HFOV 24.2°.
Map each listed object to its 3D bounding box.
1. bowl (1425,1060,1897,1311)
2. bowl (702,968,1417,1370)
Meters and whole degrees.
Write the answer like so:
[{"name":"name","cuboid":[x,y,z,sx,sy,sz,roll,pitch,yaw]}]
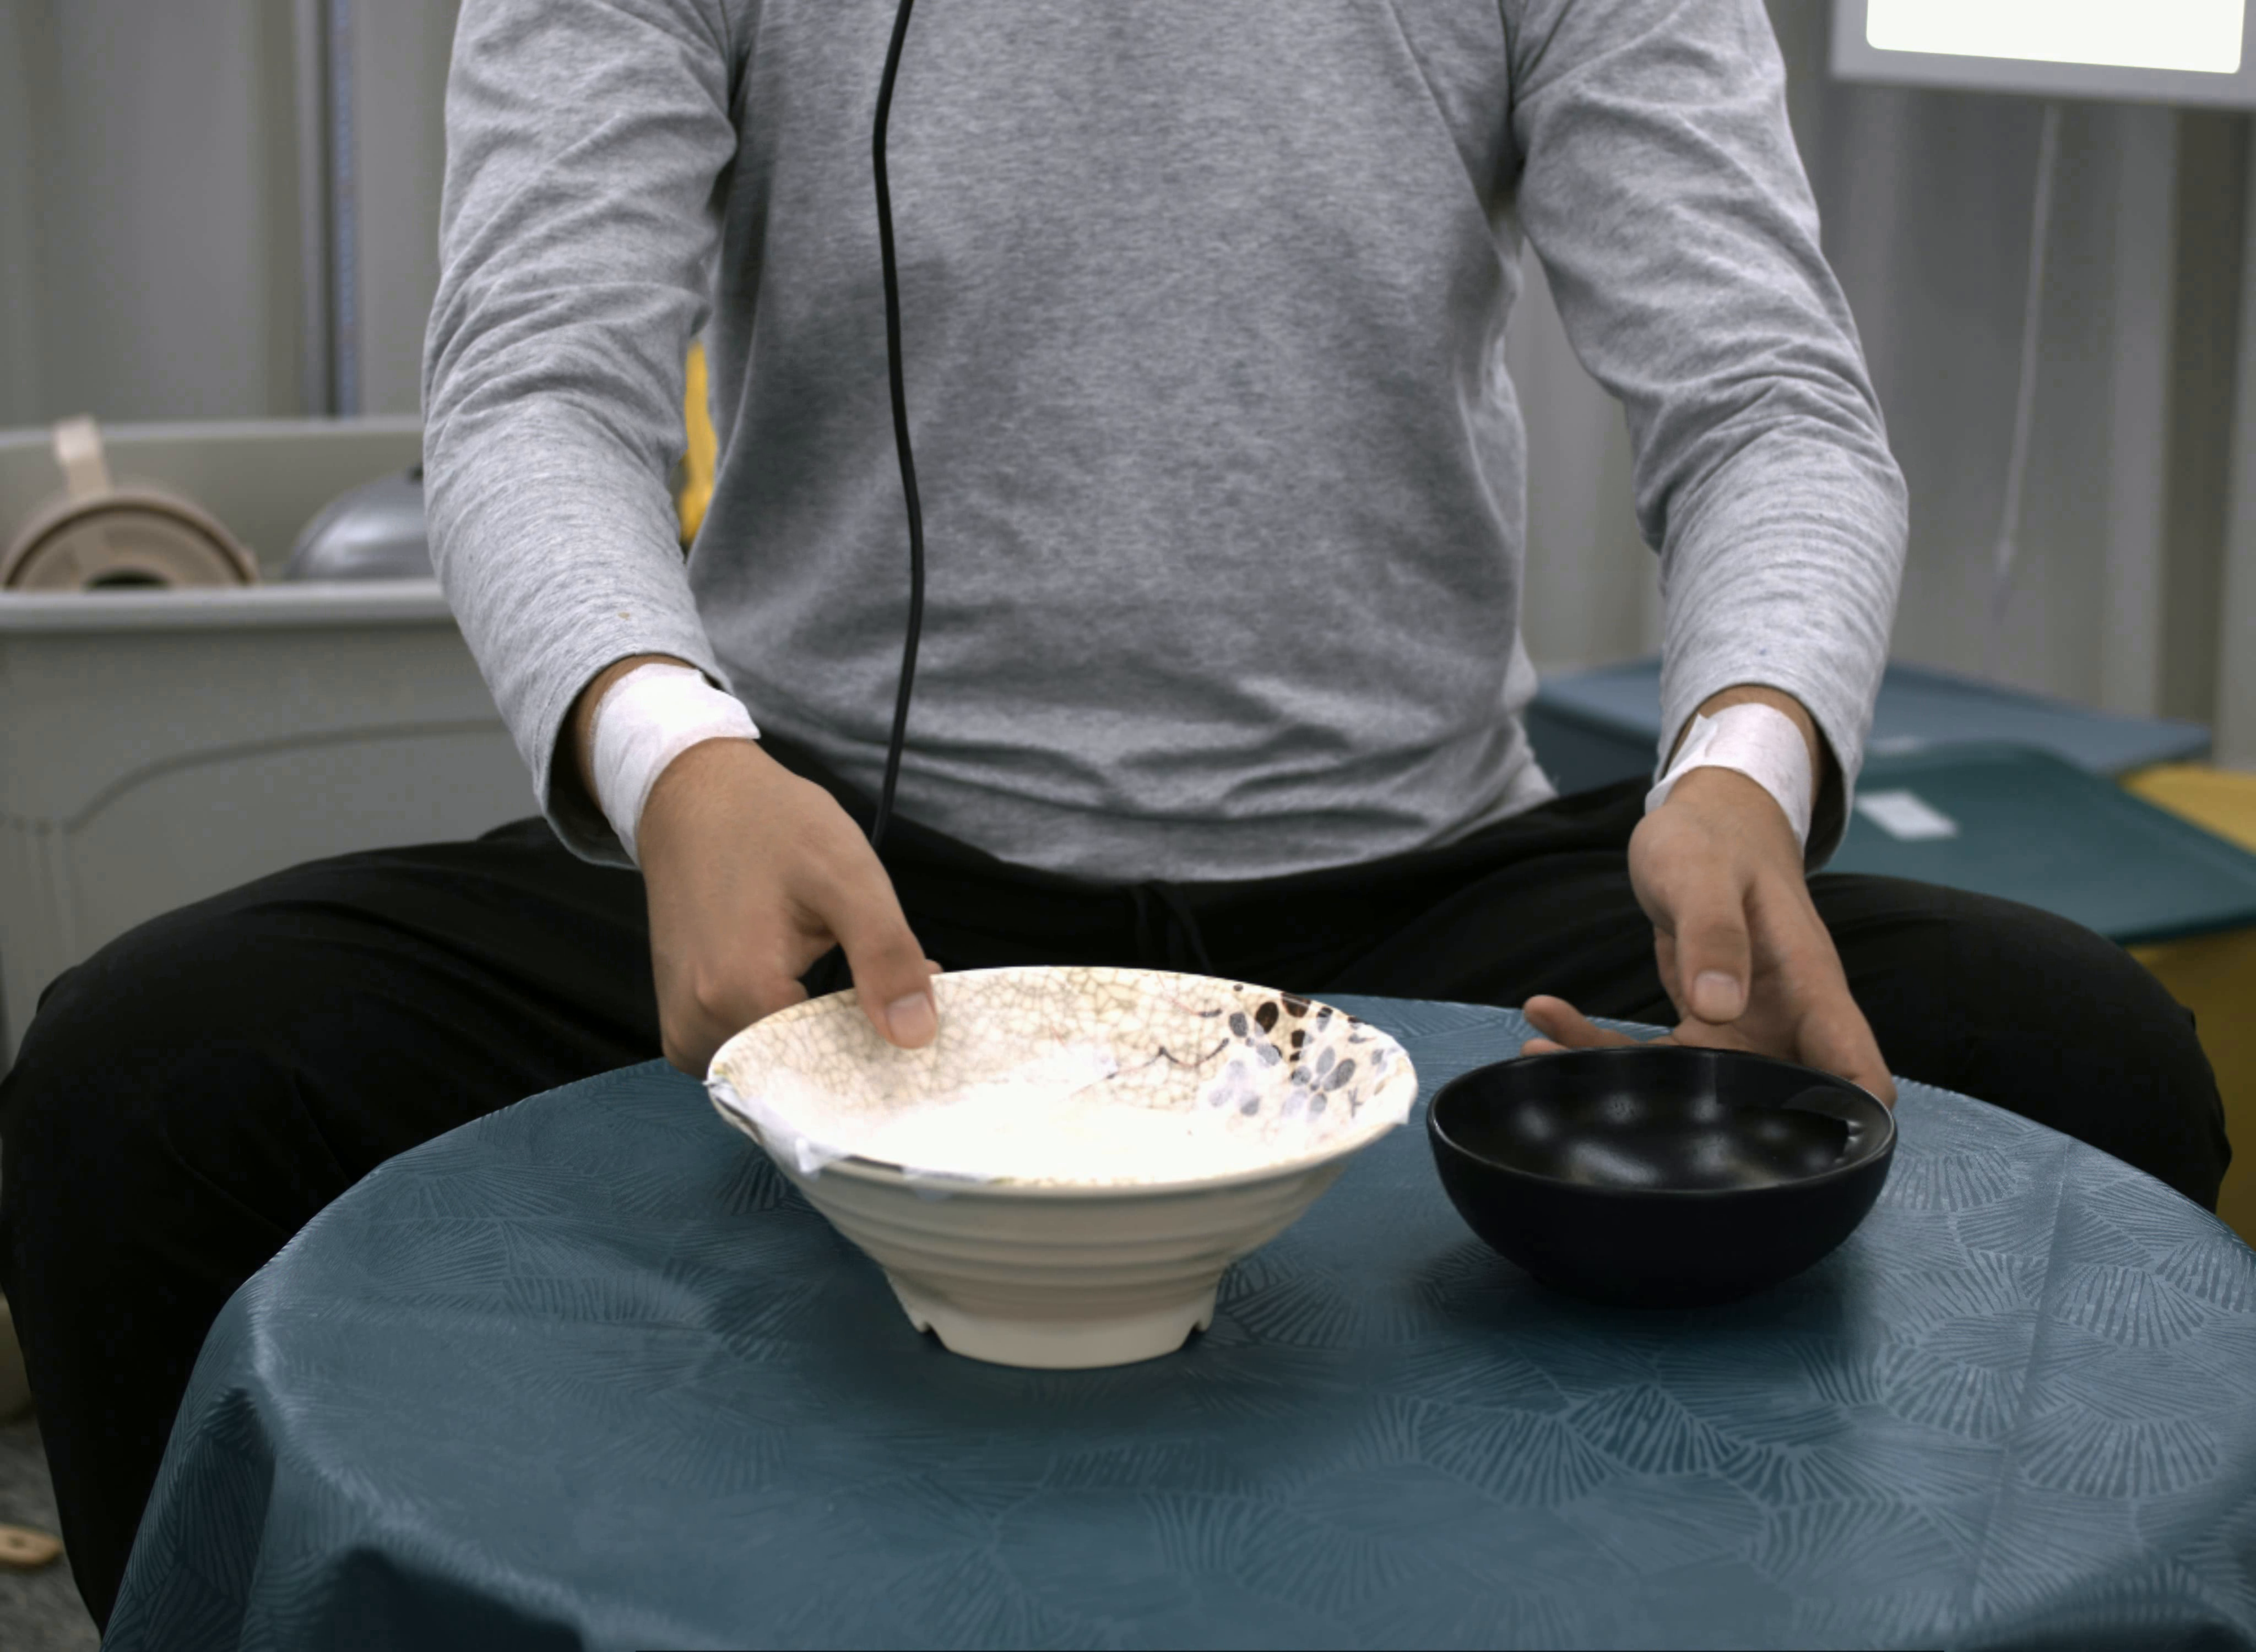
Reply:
[{"name":"bowl","cuboid":[0.156,0.110,1.555,0.139,0.050,0.139,2,12,0]},{"name":"bowl","cuboid":[-0.020,0.105,1.506,0.203,0.078,0.203,1,14,0]}]
